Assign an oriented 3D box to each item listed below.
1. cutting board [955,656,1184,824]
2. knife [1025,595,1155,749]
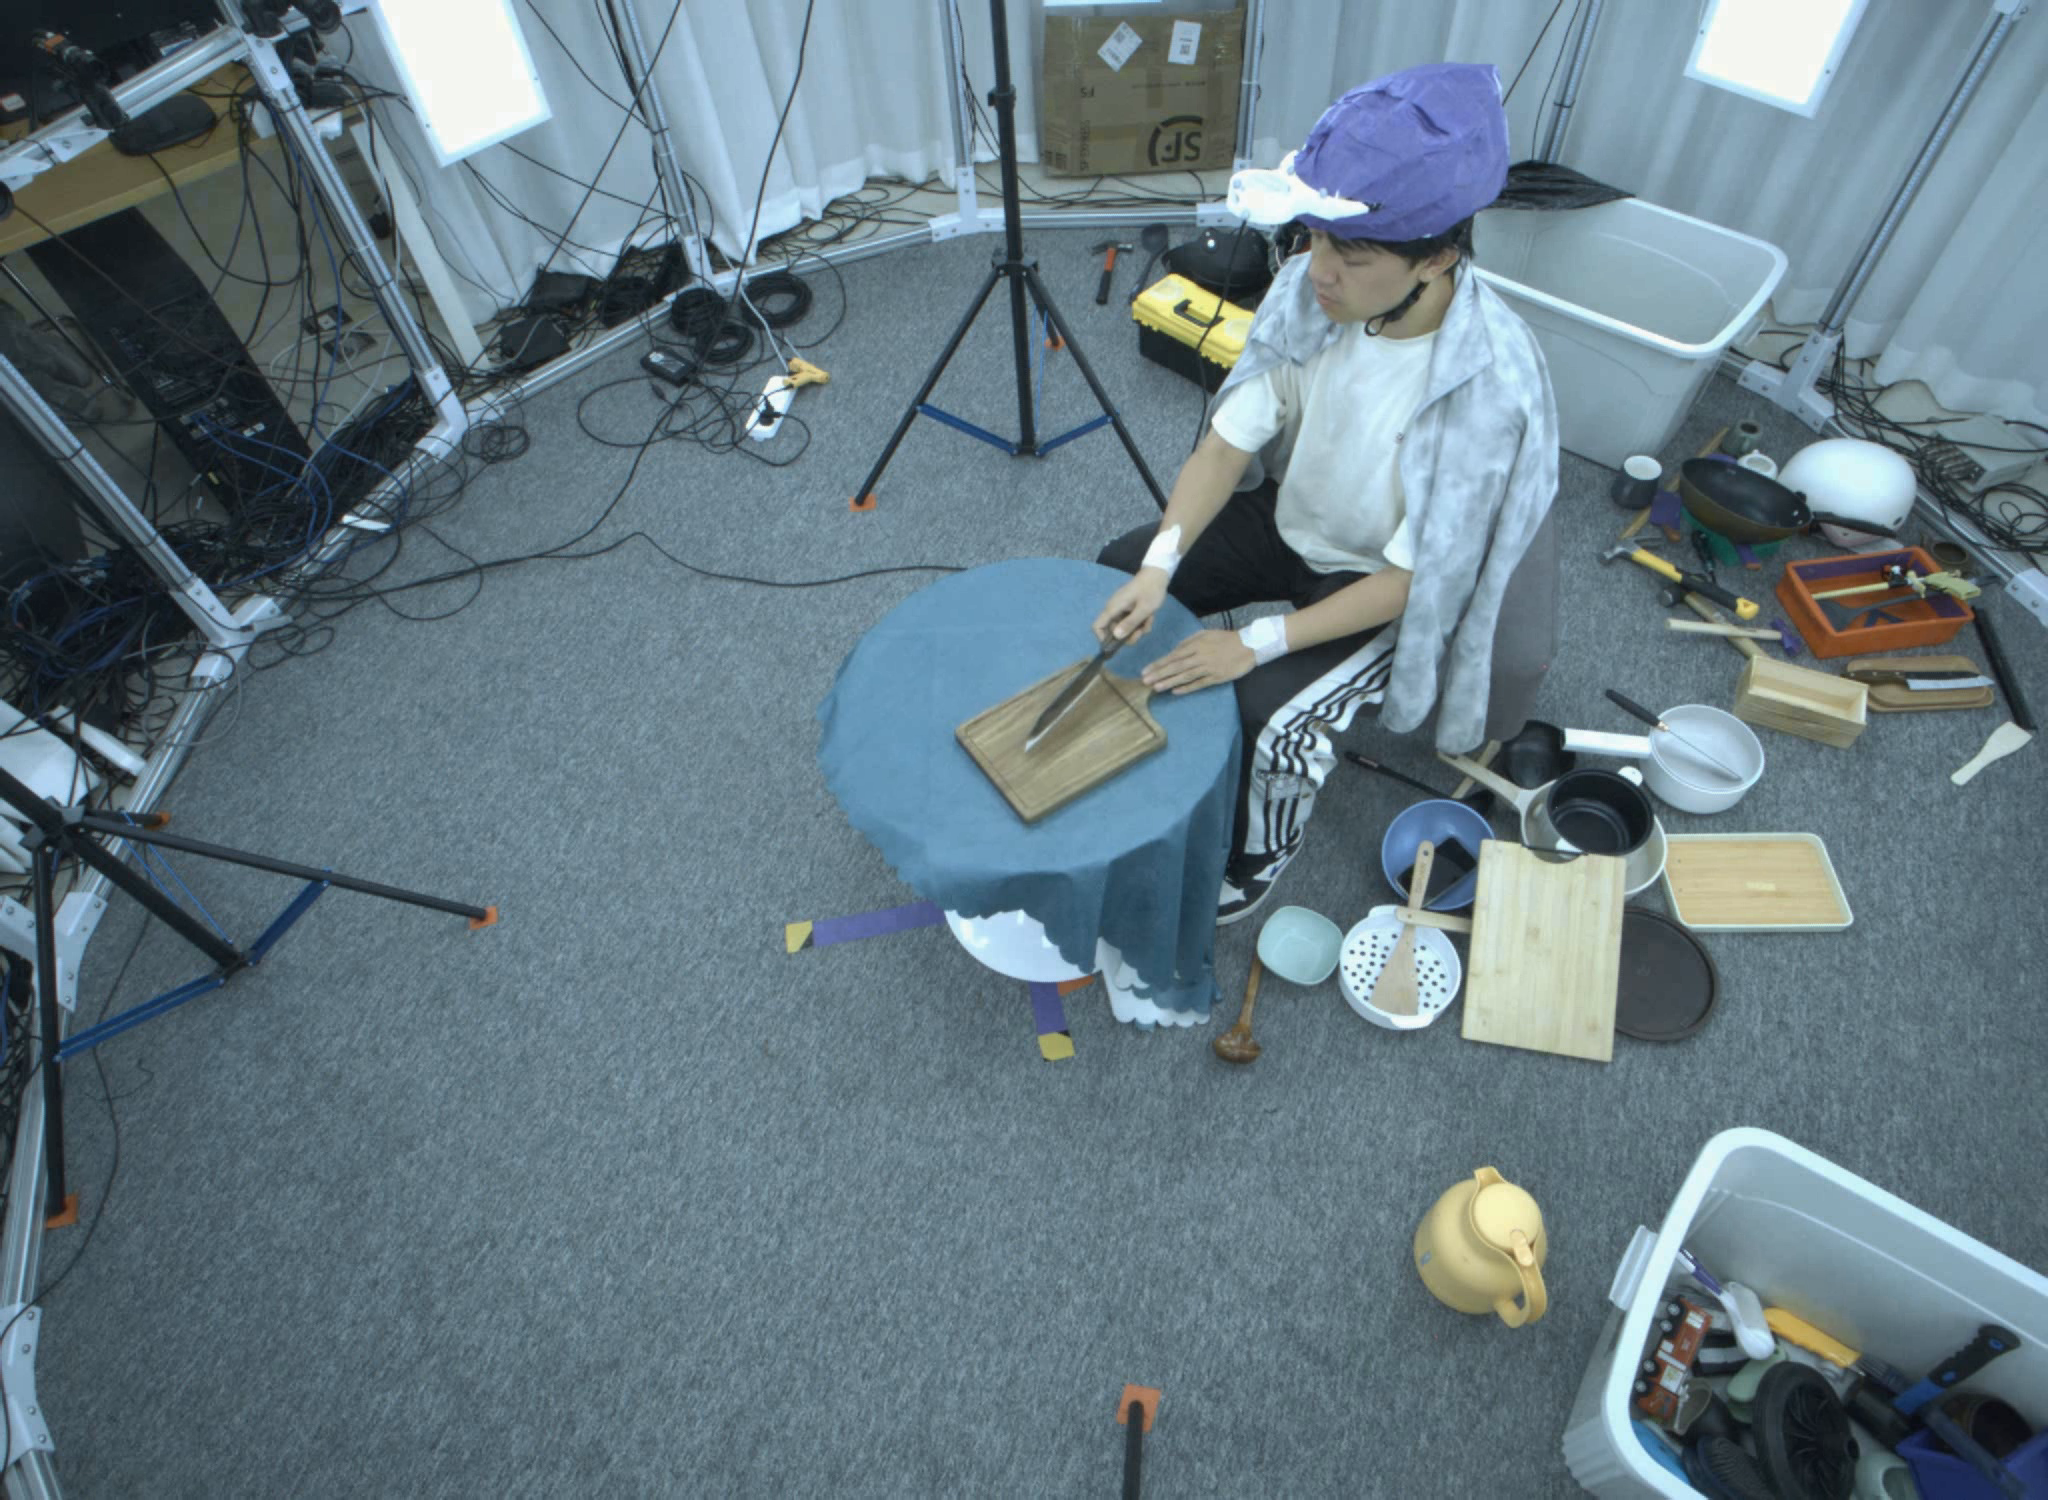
[{"bbox_3d":[0.094,-0.044,1.807,0.355,0.023,0.197,-30,57,-19],"label":"cutting board"},{"bbox_3d":[0.096,-0.115,1.798,0.023,0.068,0.301,35,68,17],"label":"knife"}]
